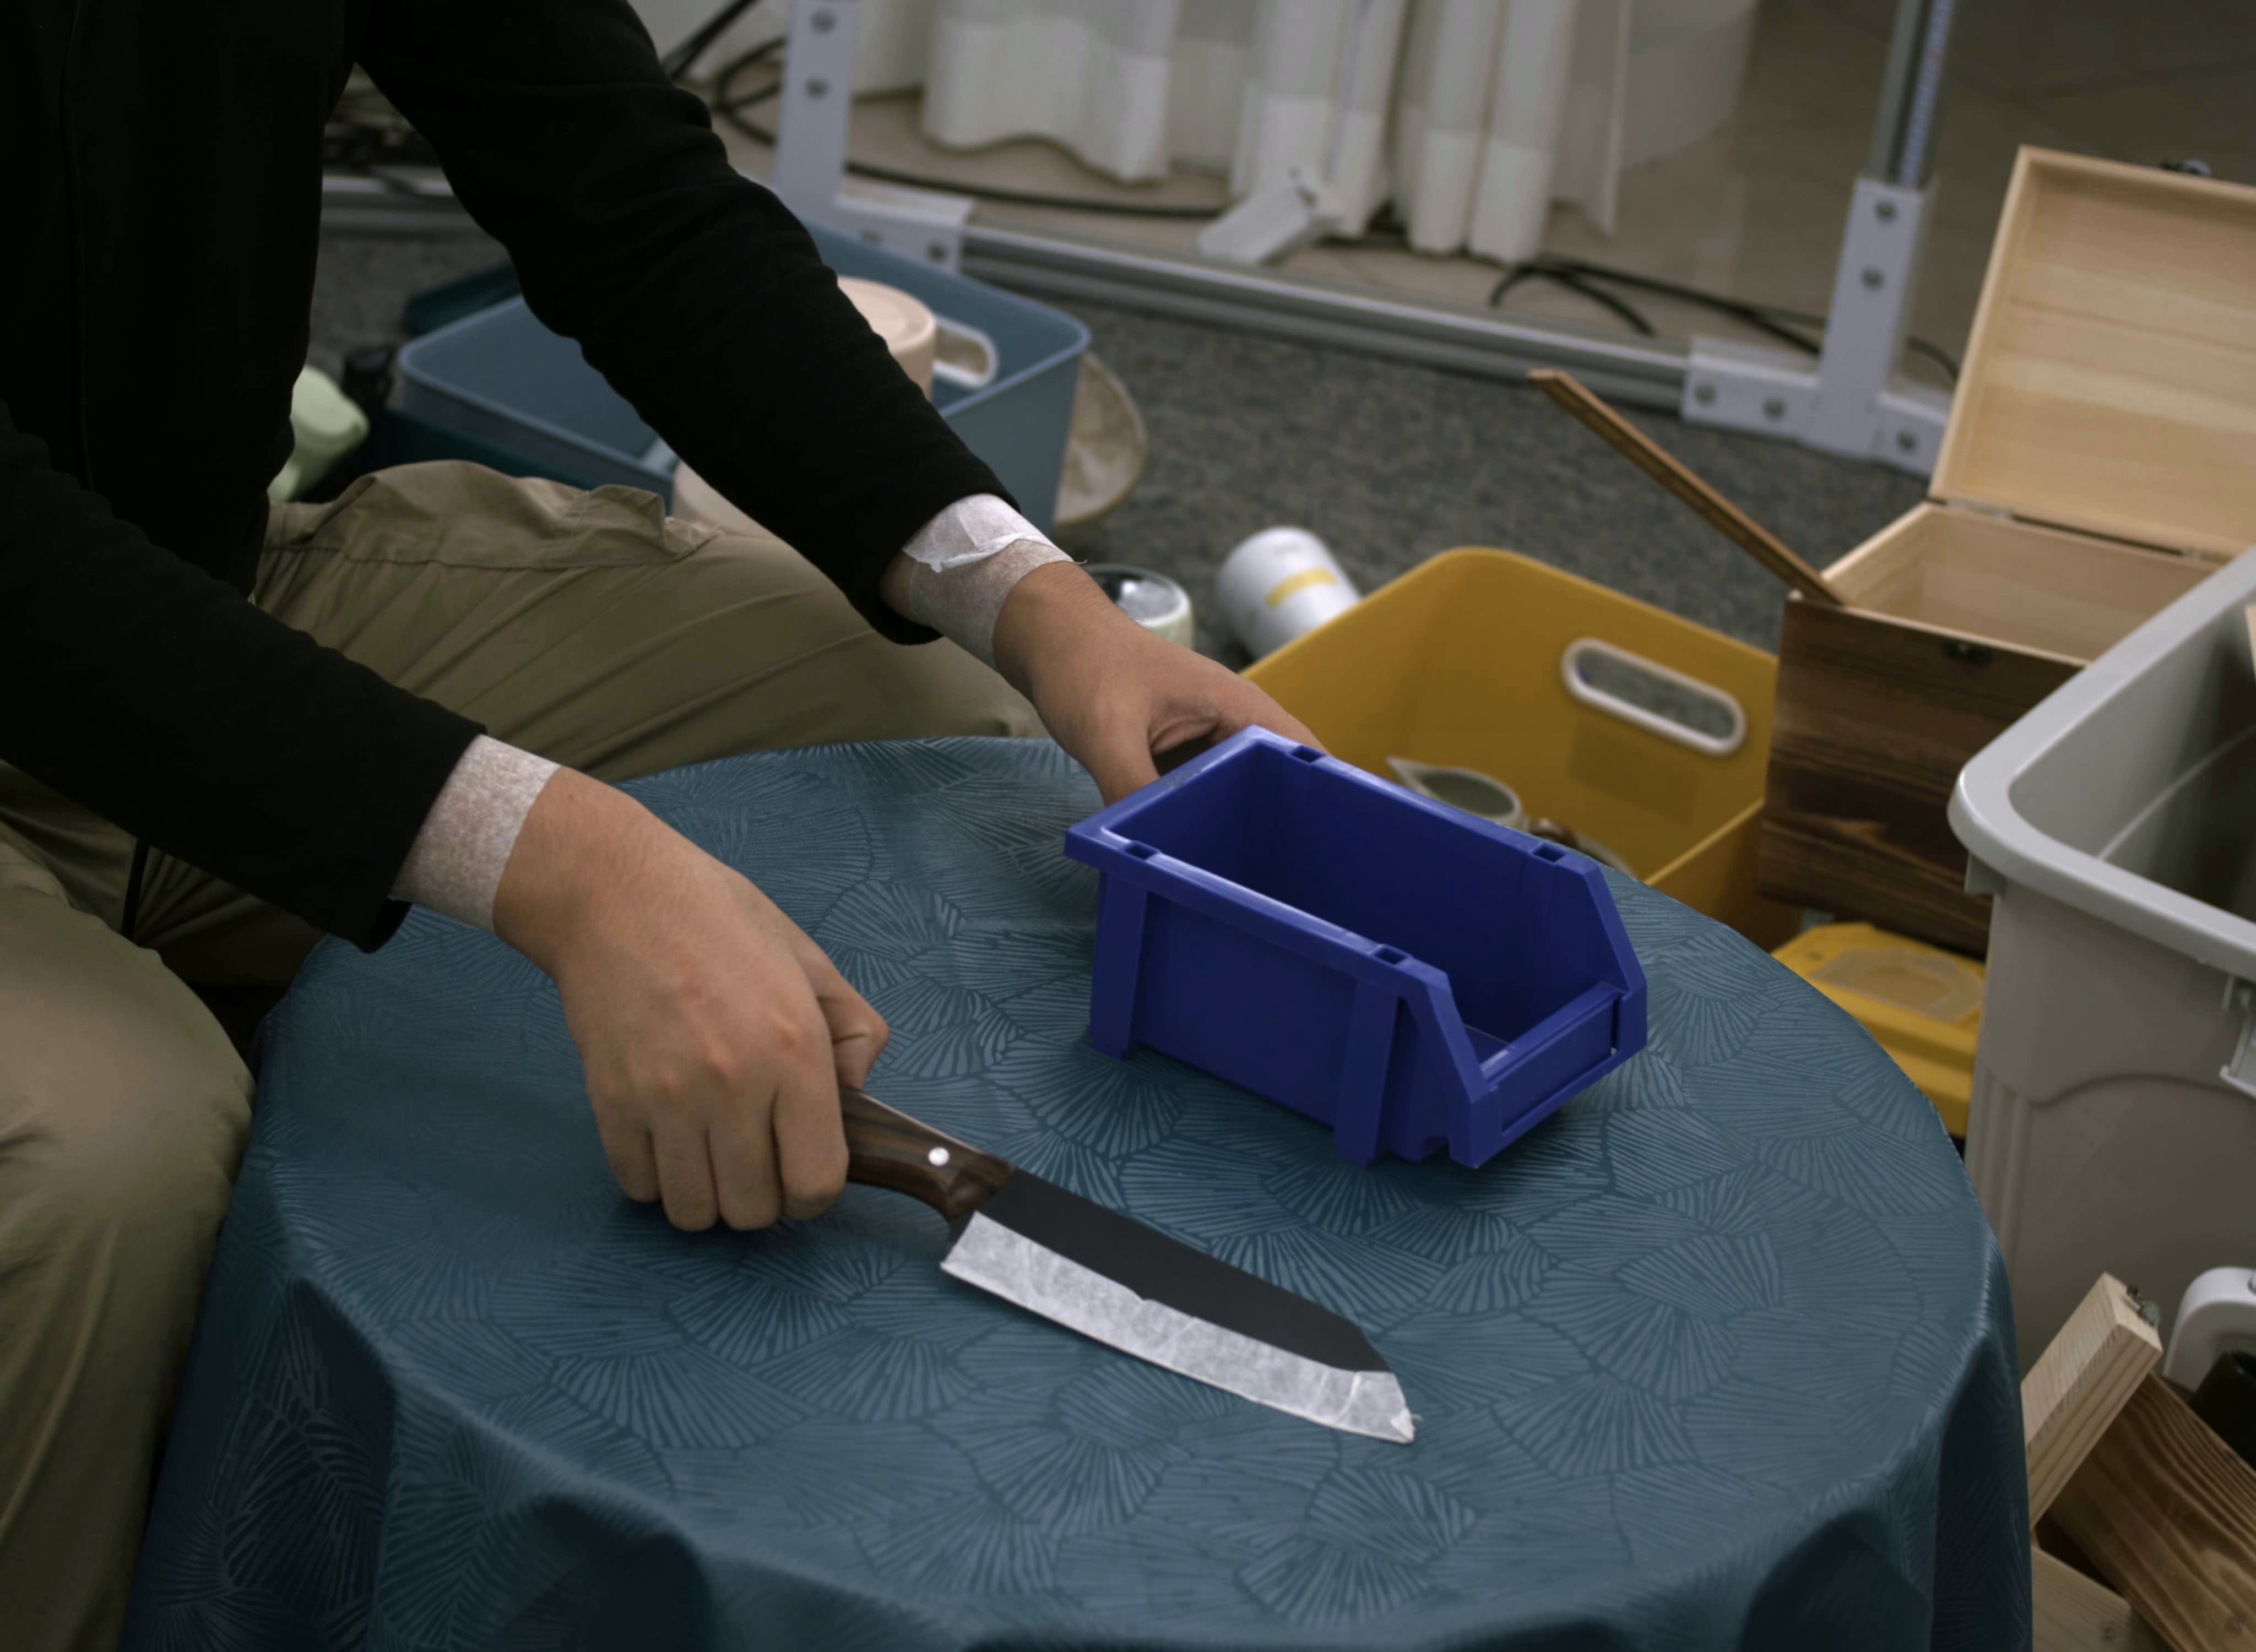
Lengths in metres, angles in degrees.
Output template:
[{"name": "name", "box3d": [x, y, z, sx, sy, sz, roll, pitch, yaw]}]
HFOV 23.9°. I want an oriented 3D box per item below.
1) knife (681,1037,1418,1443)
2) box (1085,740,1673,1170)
[{"name": "knife", "box3d": [-0.029, 0.135, 1.735, 0.290, 0.020, 0.050, 25, 65, 23]}, {"name": "box", "box3d": [0.090, 0.049, 1.878, 0.180, 0.081, 0.124, 21, 30, 31]}]
